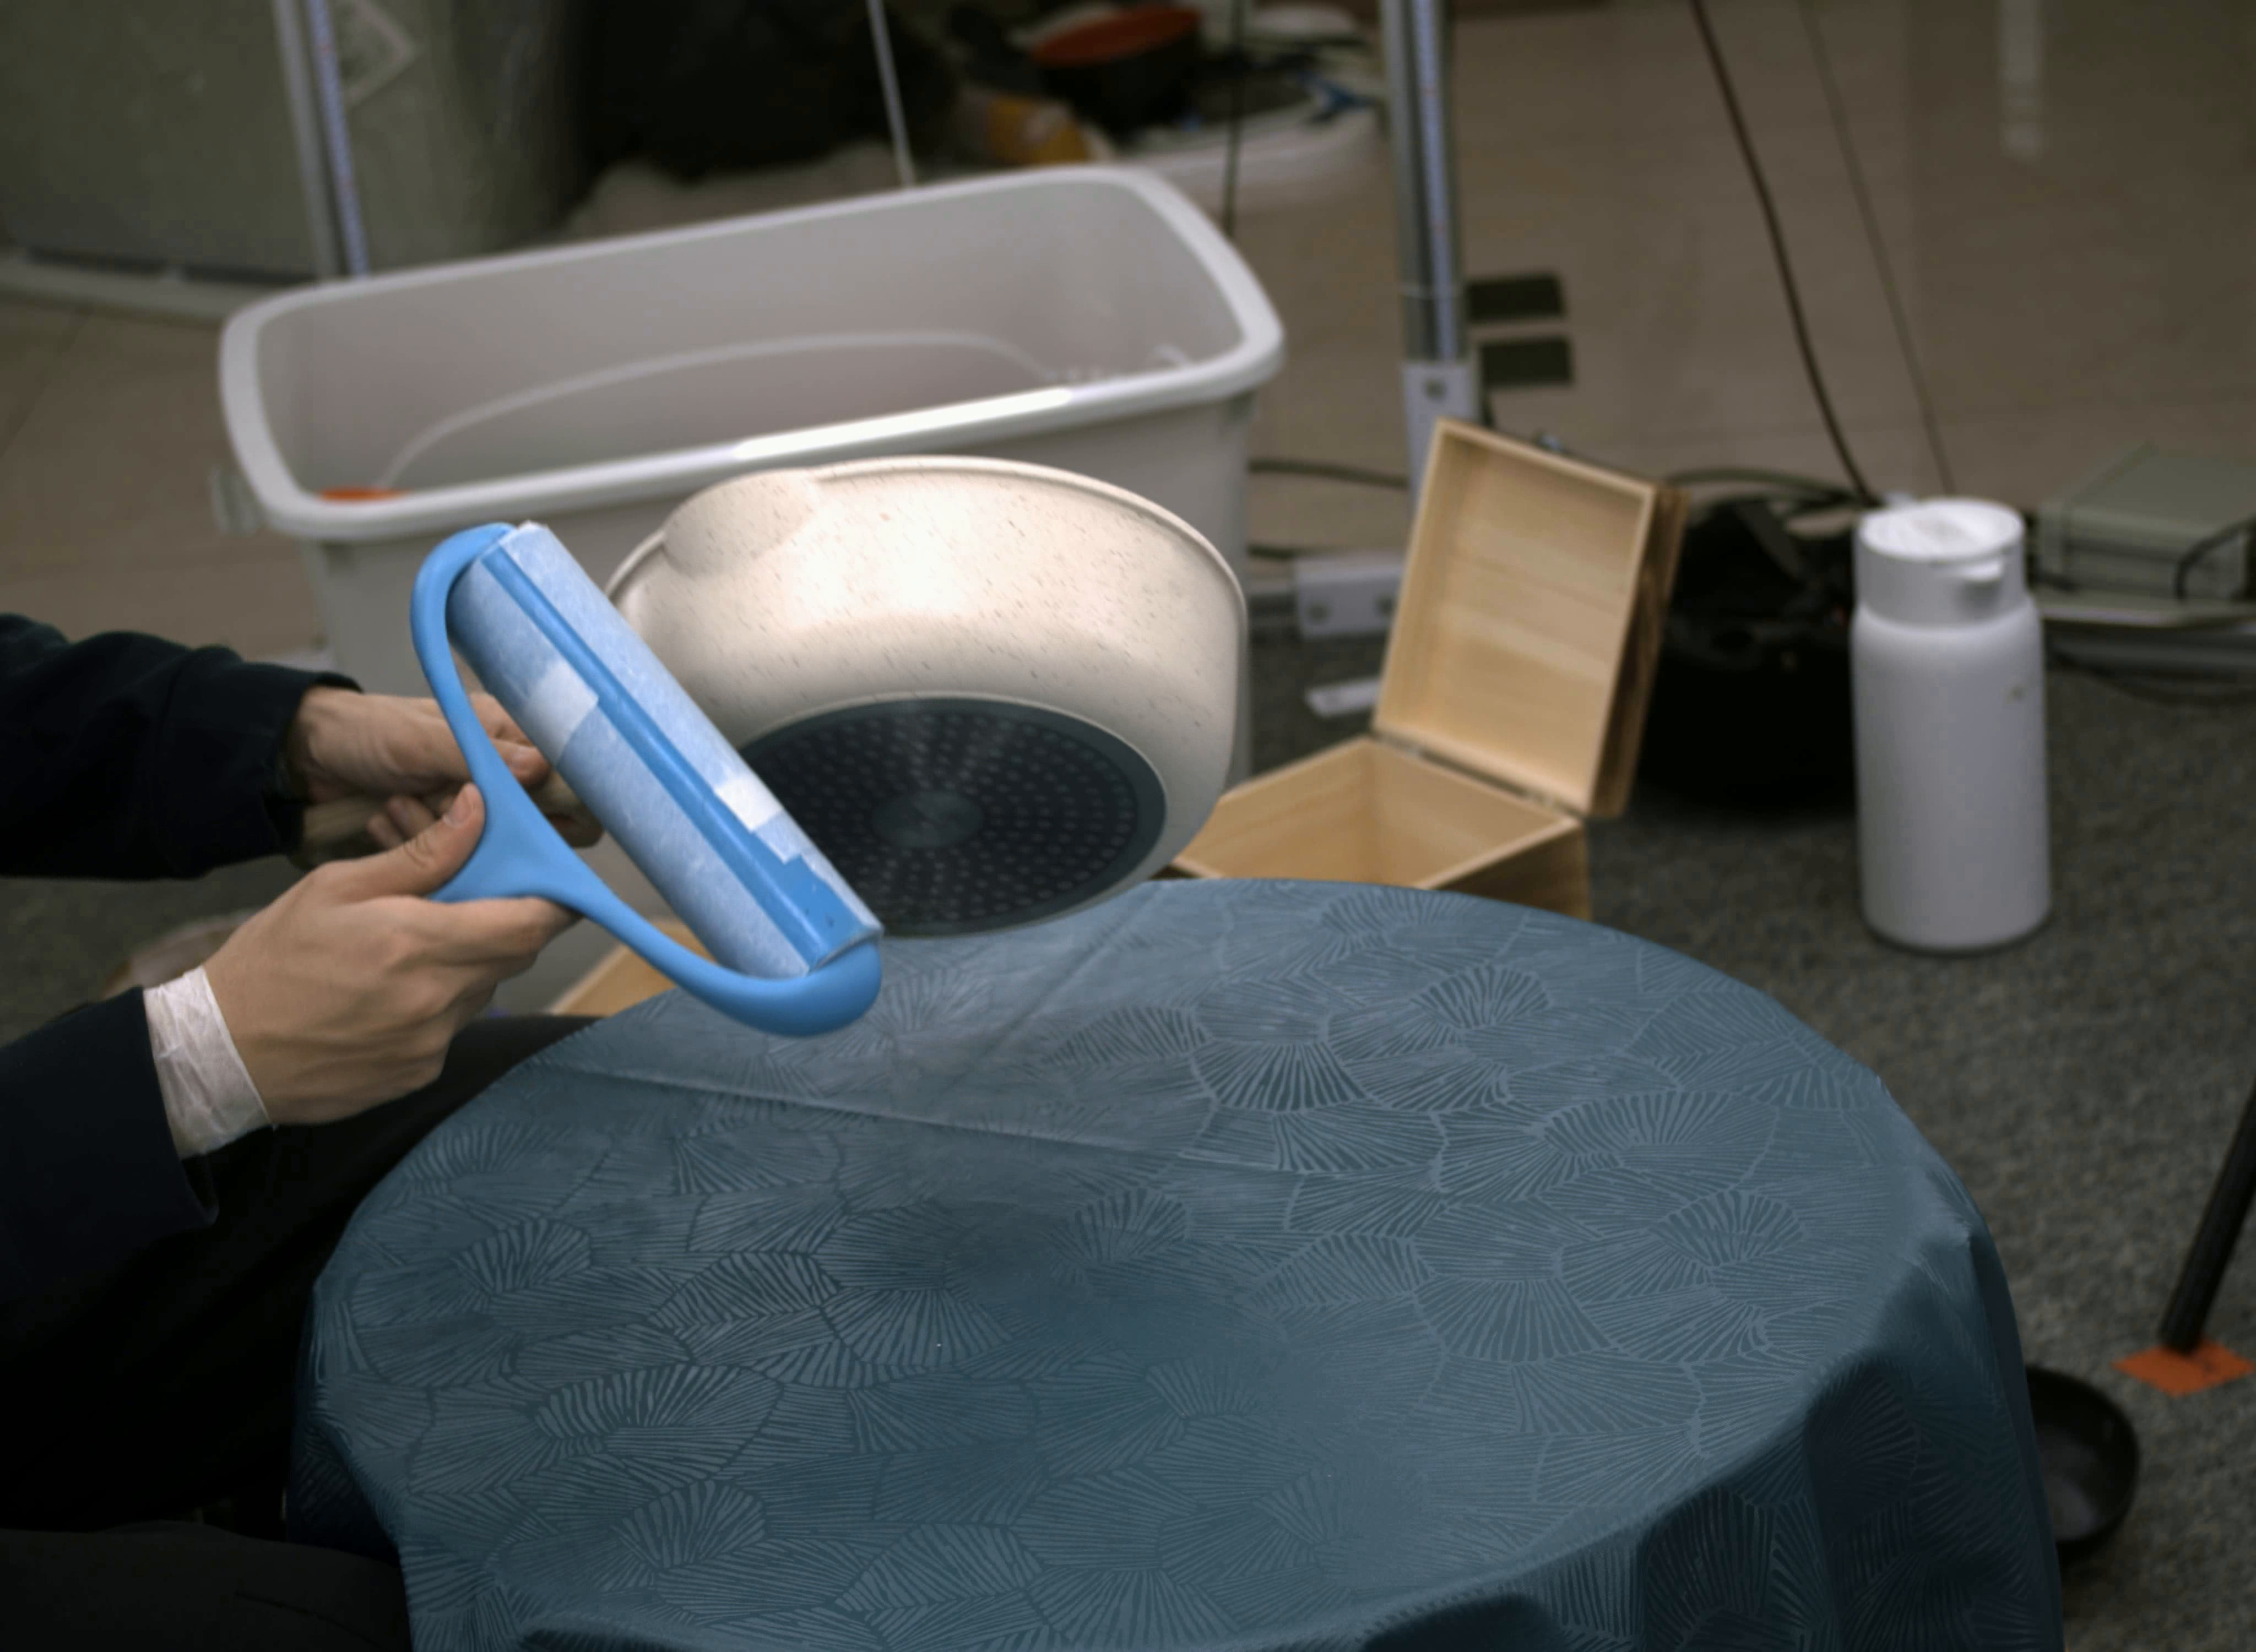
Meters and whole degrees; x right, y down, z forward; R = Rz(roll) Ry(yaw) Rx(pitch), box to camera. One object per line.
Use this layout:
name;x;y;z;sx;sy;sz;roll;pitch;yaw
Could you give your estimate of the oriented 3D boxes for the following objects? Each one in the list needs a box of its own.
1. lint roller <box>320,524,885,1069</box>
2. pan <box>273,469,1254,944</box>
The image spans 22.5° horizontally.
lint roller;-0.211;0.020;1.996;0.179;0.228;0.068;-41;-7;-12
pan;-0.153;-0.015;2.190;0.436;0.266;0.100;-19;60;26
